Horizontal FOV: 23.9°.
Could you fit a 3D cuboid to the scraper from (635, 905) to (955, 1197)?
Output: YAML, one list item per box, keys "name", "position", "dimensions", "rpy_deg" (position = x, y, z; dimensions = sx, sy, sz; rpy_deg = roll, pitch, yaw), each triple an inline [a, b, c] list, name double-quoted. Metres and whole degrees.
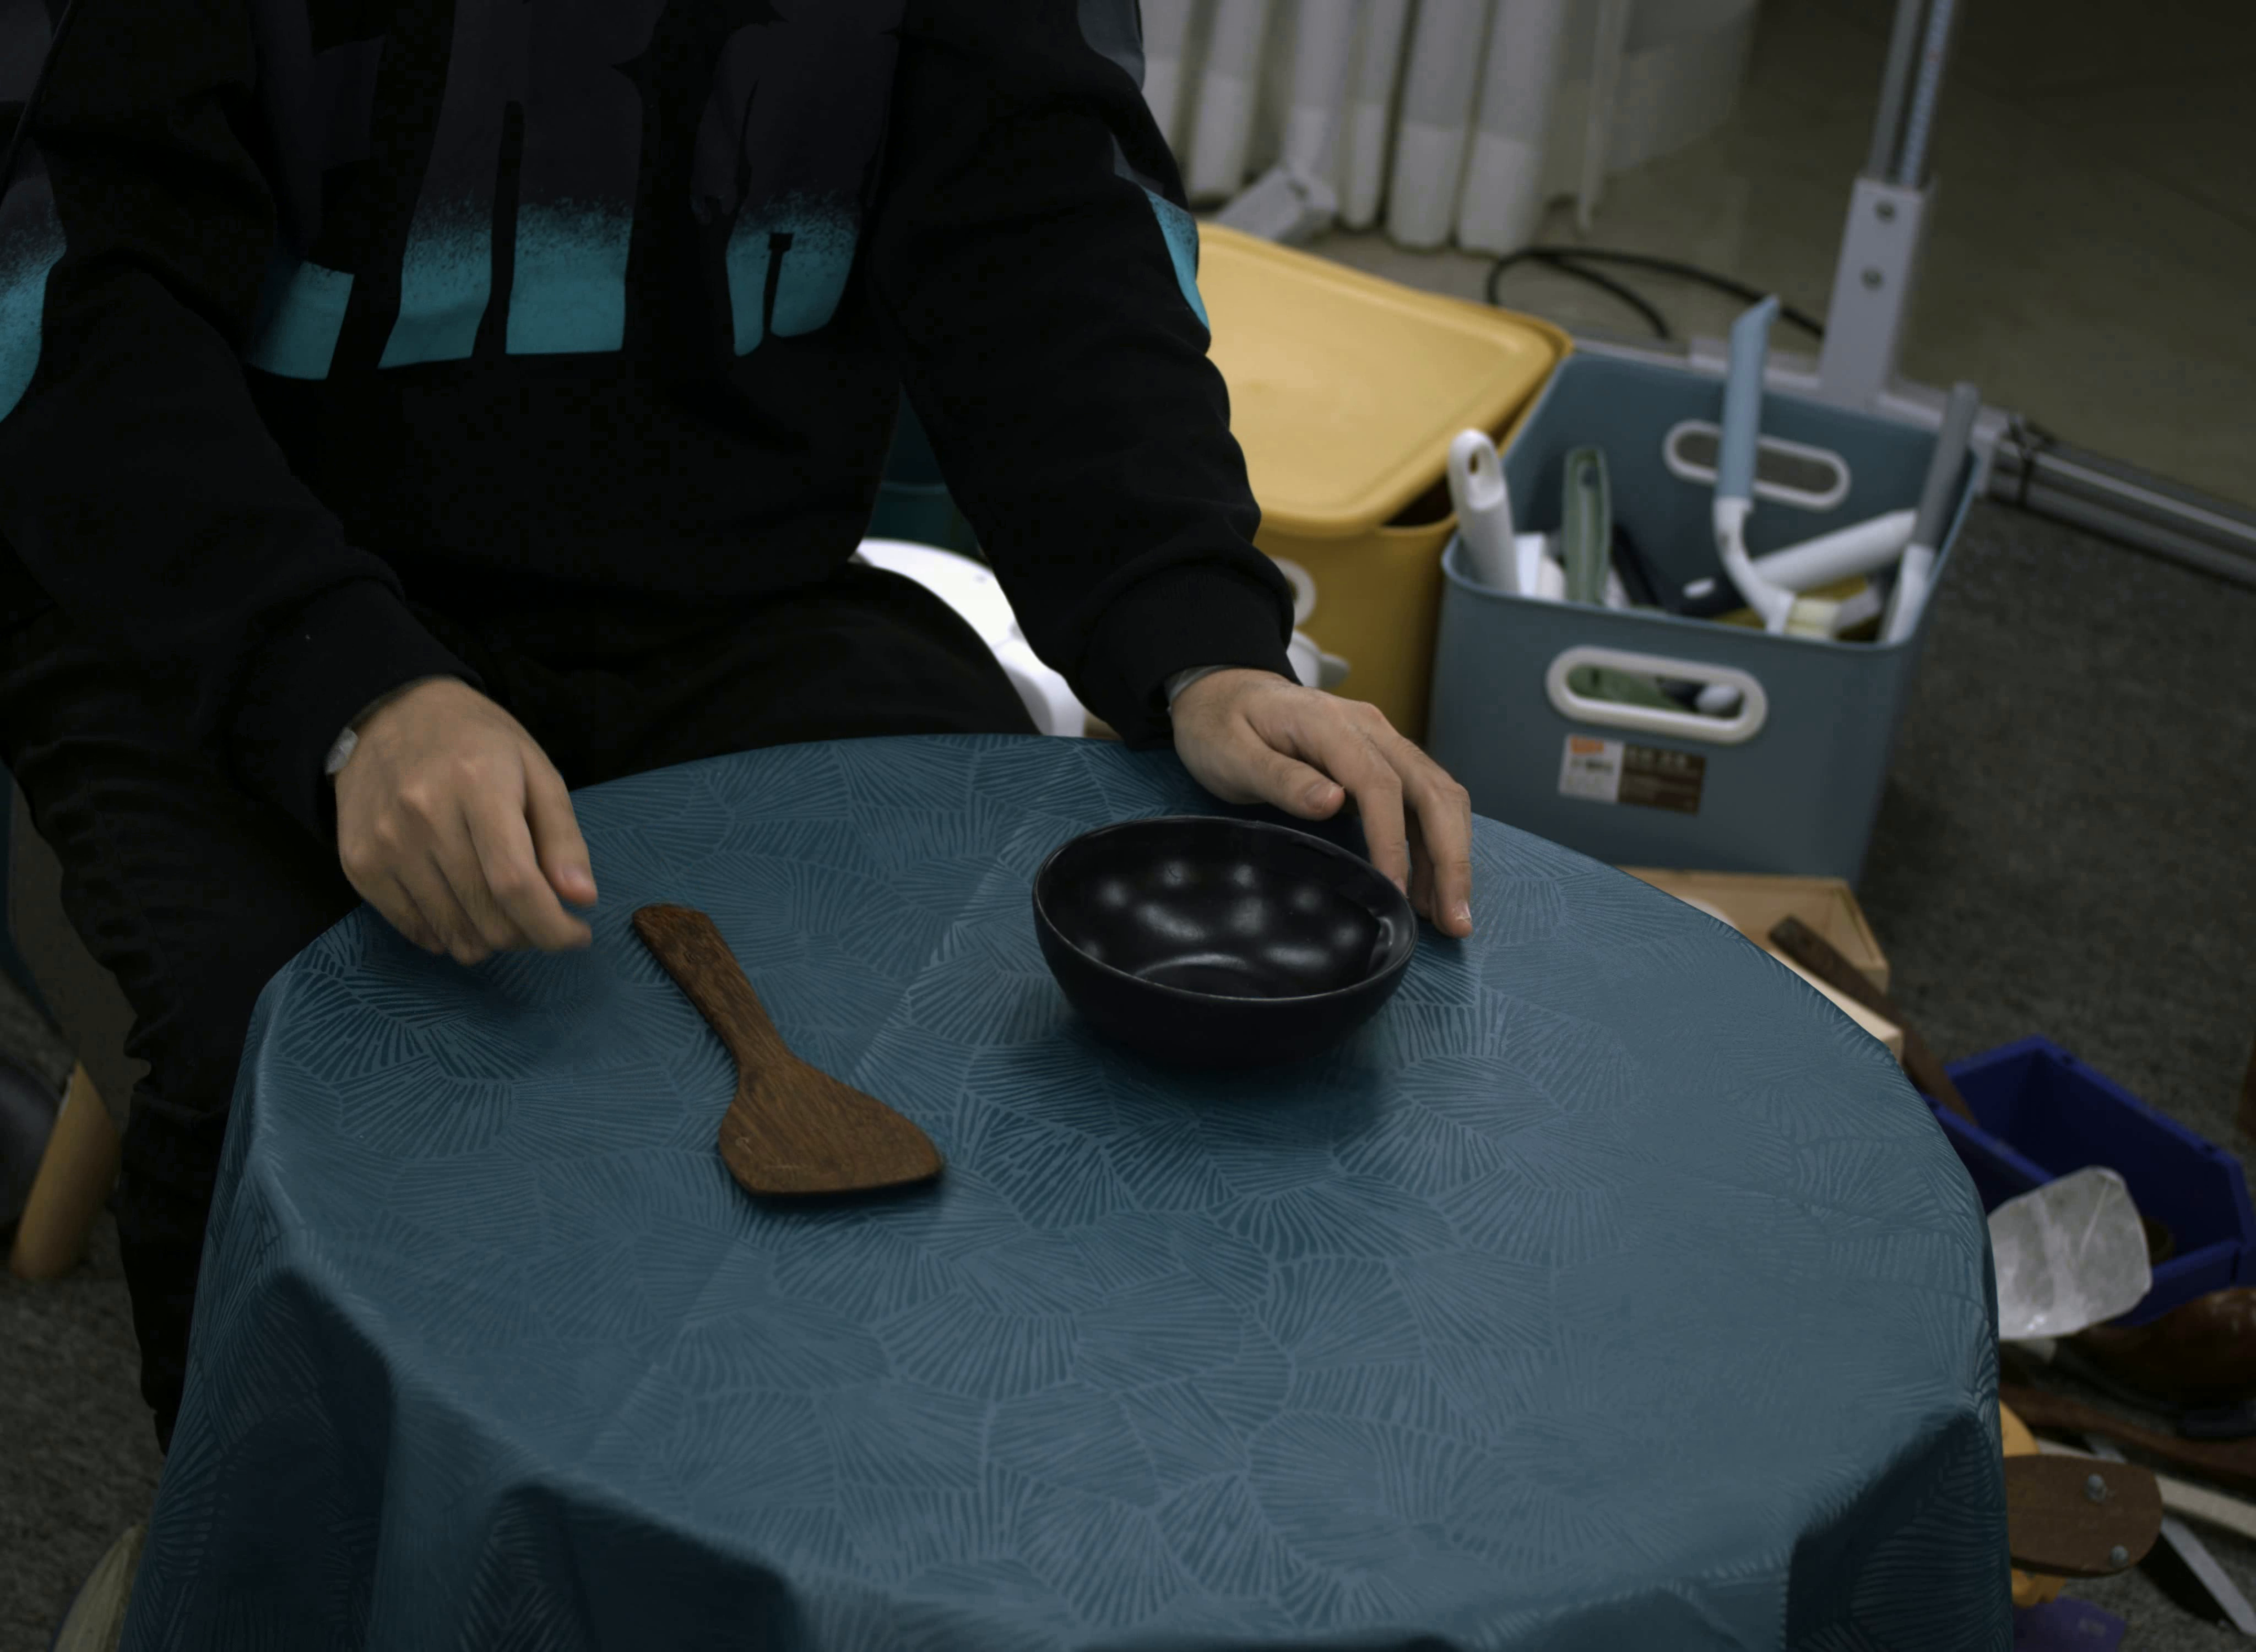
- name: "scraper"
  position: [-0.129, 0.078, 1.854]
  dimensions: [0.075, 0.011, 0.213]
  rpy_deg: [-4, 28, -23]

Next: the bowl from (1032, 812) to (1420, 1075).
- name: "bowl"
  position: [0.033, 0.050, 1.900]
  dimensions: [0.139, 0.049, 0.141]
  rpy_deg: [3, 29, -2]
